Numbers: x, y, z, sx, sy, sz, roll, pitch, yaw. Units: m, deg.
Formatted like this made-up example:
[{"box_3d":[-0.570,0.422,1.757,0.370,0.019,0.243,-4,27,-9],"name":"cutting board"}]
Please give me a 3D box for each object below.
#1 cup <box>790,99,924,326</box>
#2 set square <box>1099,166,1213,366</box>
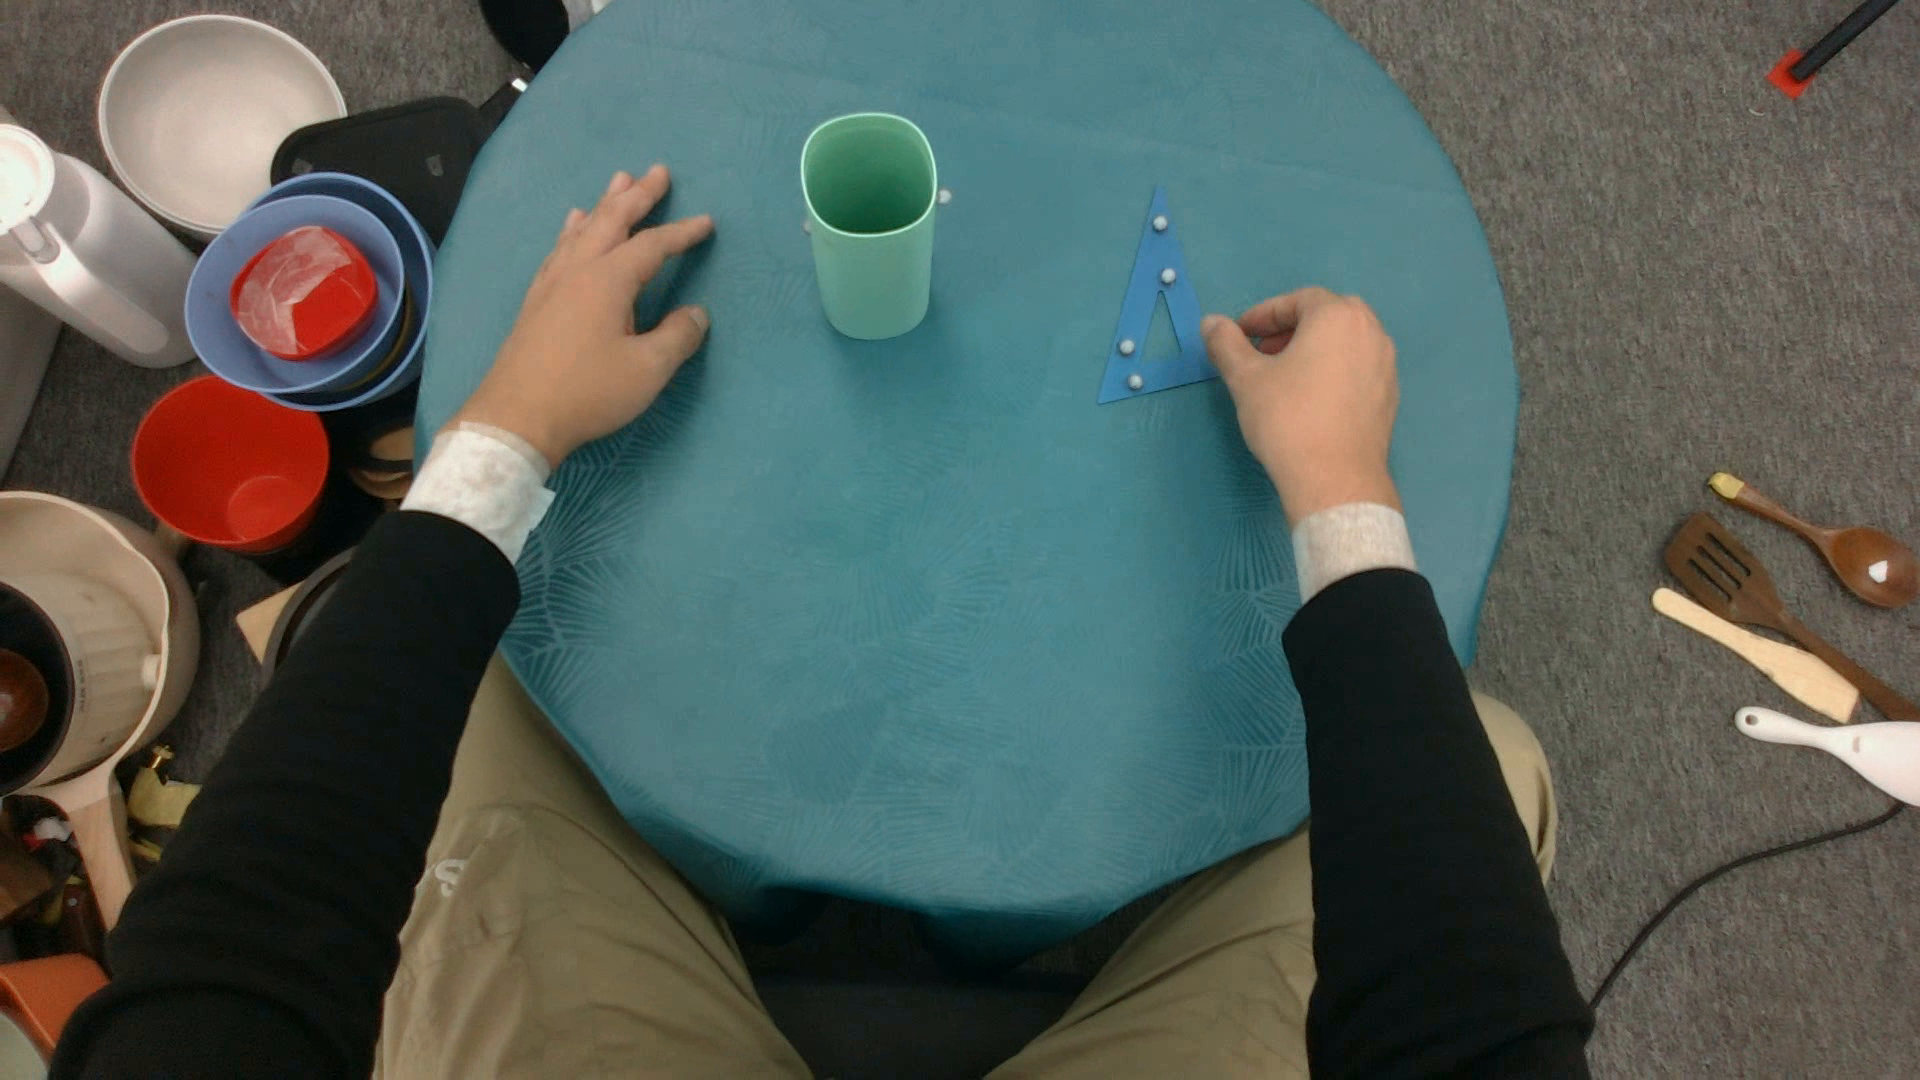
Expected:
[{"box_3d":[-0.052,-0.161,0.702,0.067,0.132,0.067,1,76,-4],"name":"cup"},{"box_3d":[0.124,-0.147,0.771,0.061,0.006,0.132,20,76,2],"name":"set square"}]
